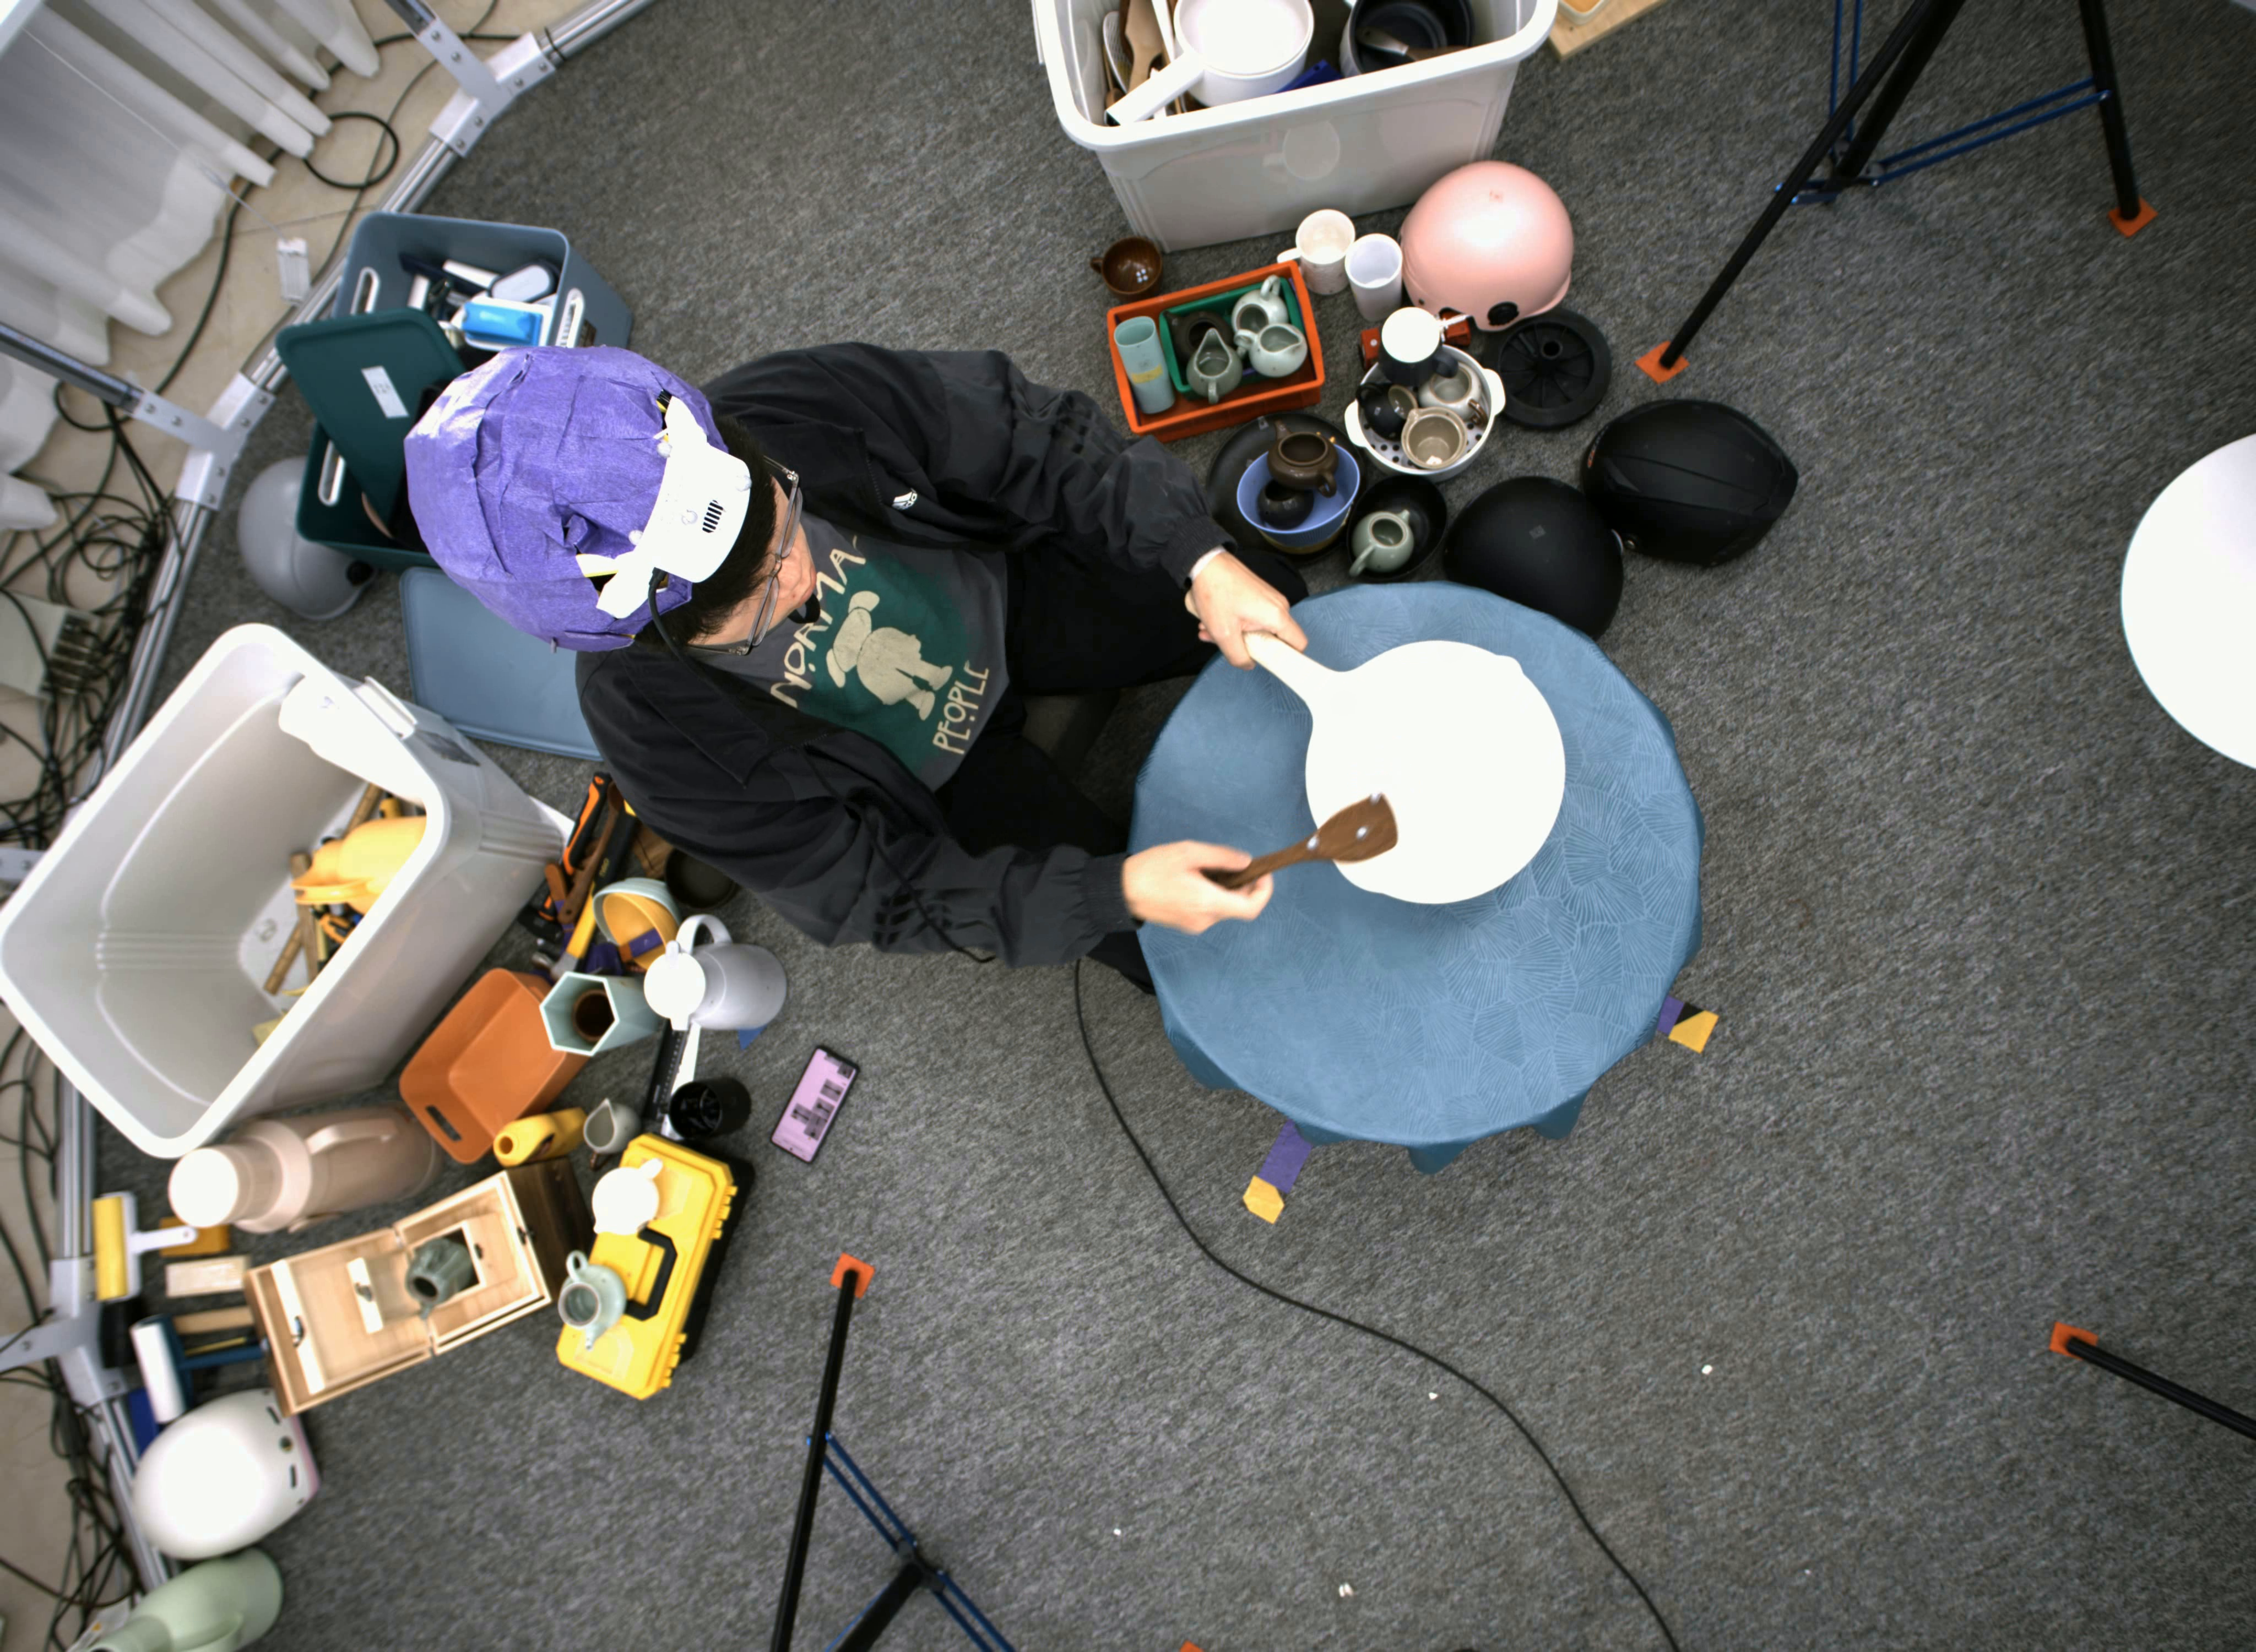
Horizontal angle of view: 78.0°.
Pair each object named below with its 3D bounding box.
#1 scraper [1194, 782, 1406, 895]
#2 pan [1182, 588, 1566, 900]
[{"bbox_3d":[0.161,0.021,1.317,0.213,0.011,0.074,-21,51,16],"label":"scraper"},{"bbox_3d":[0.239,-0.111,1.373,0.432,0.101,0.267,40,111,20],"label":"pan"}]
